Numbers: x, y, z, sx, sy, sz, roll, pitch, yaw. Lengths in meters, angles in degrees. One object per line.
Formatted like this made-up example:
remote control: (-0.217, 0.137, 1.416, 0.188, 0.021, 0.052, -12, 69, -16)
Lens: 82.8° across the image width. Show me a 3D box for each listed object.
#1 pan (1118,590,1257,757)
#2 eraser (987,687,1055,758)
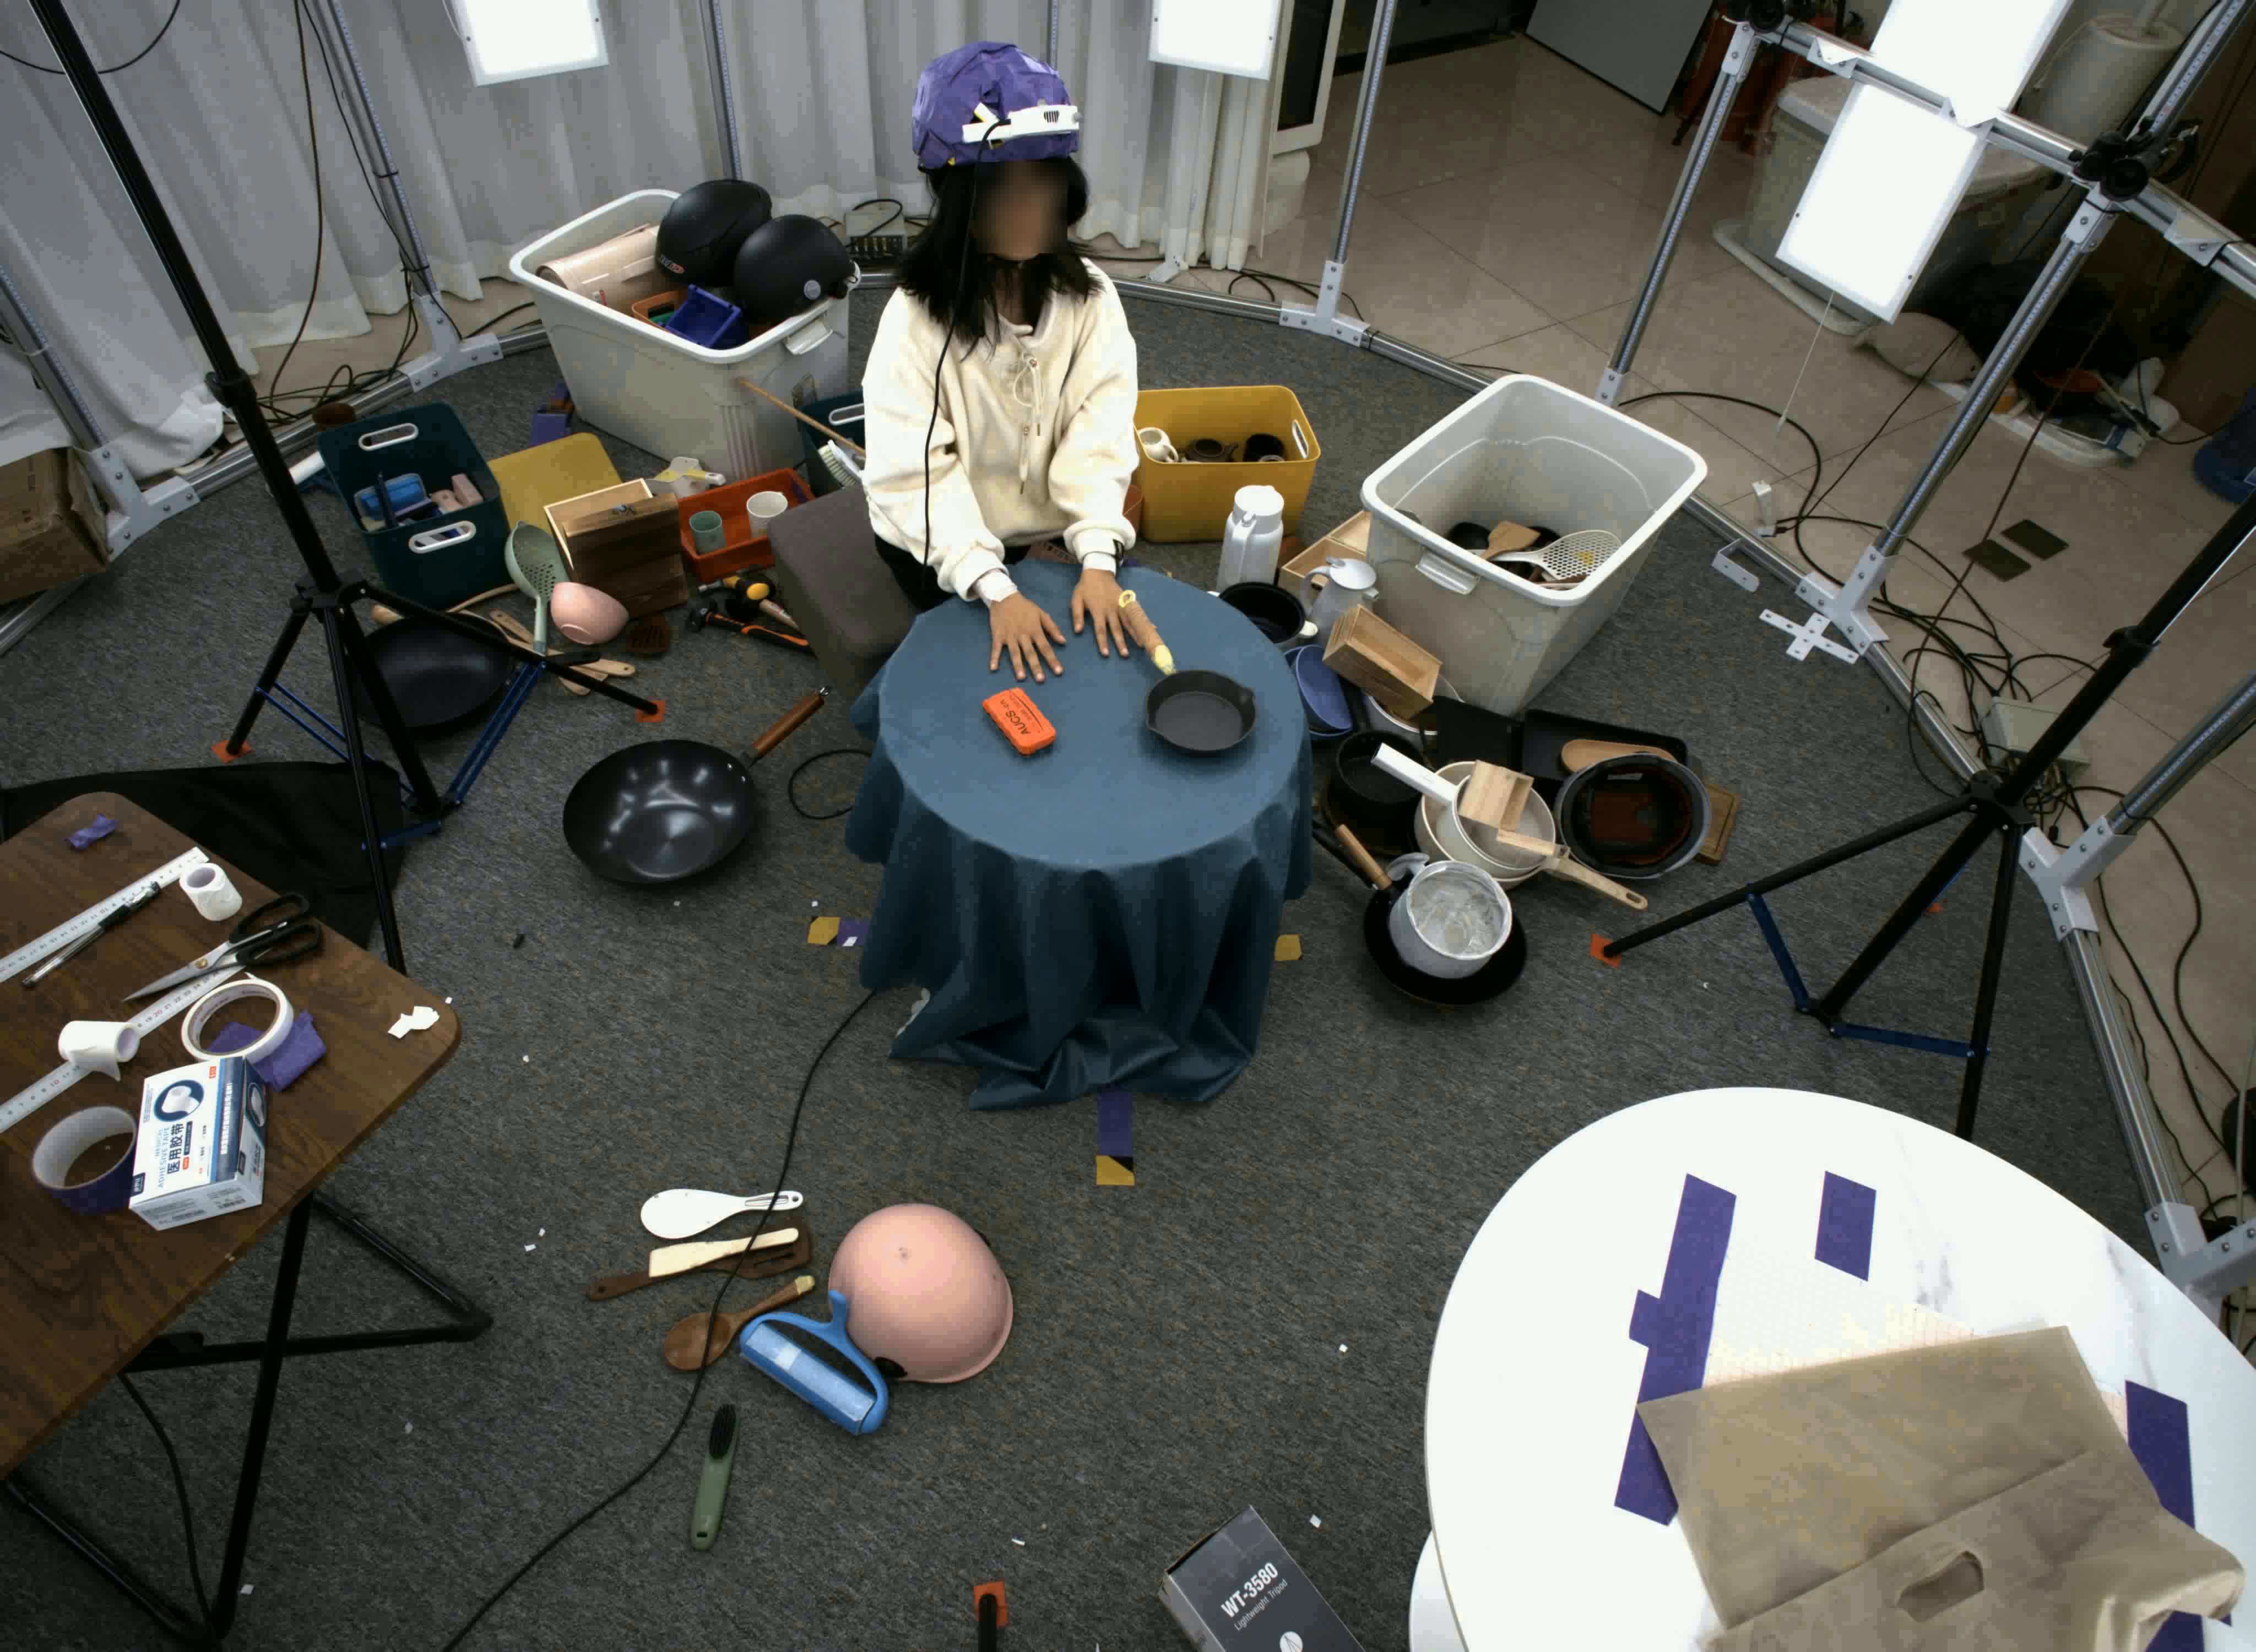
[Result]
pan: (0.064, -0.220, 1.832, 0.169, 0.048, 0.331, -18, 54, -18)
eraser: (-0.148, -0.144, 1.770, 0.059, 0.022, 0.110, -23, 55, -22)
